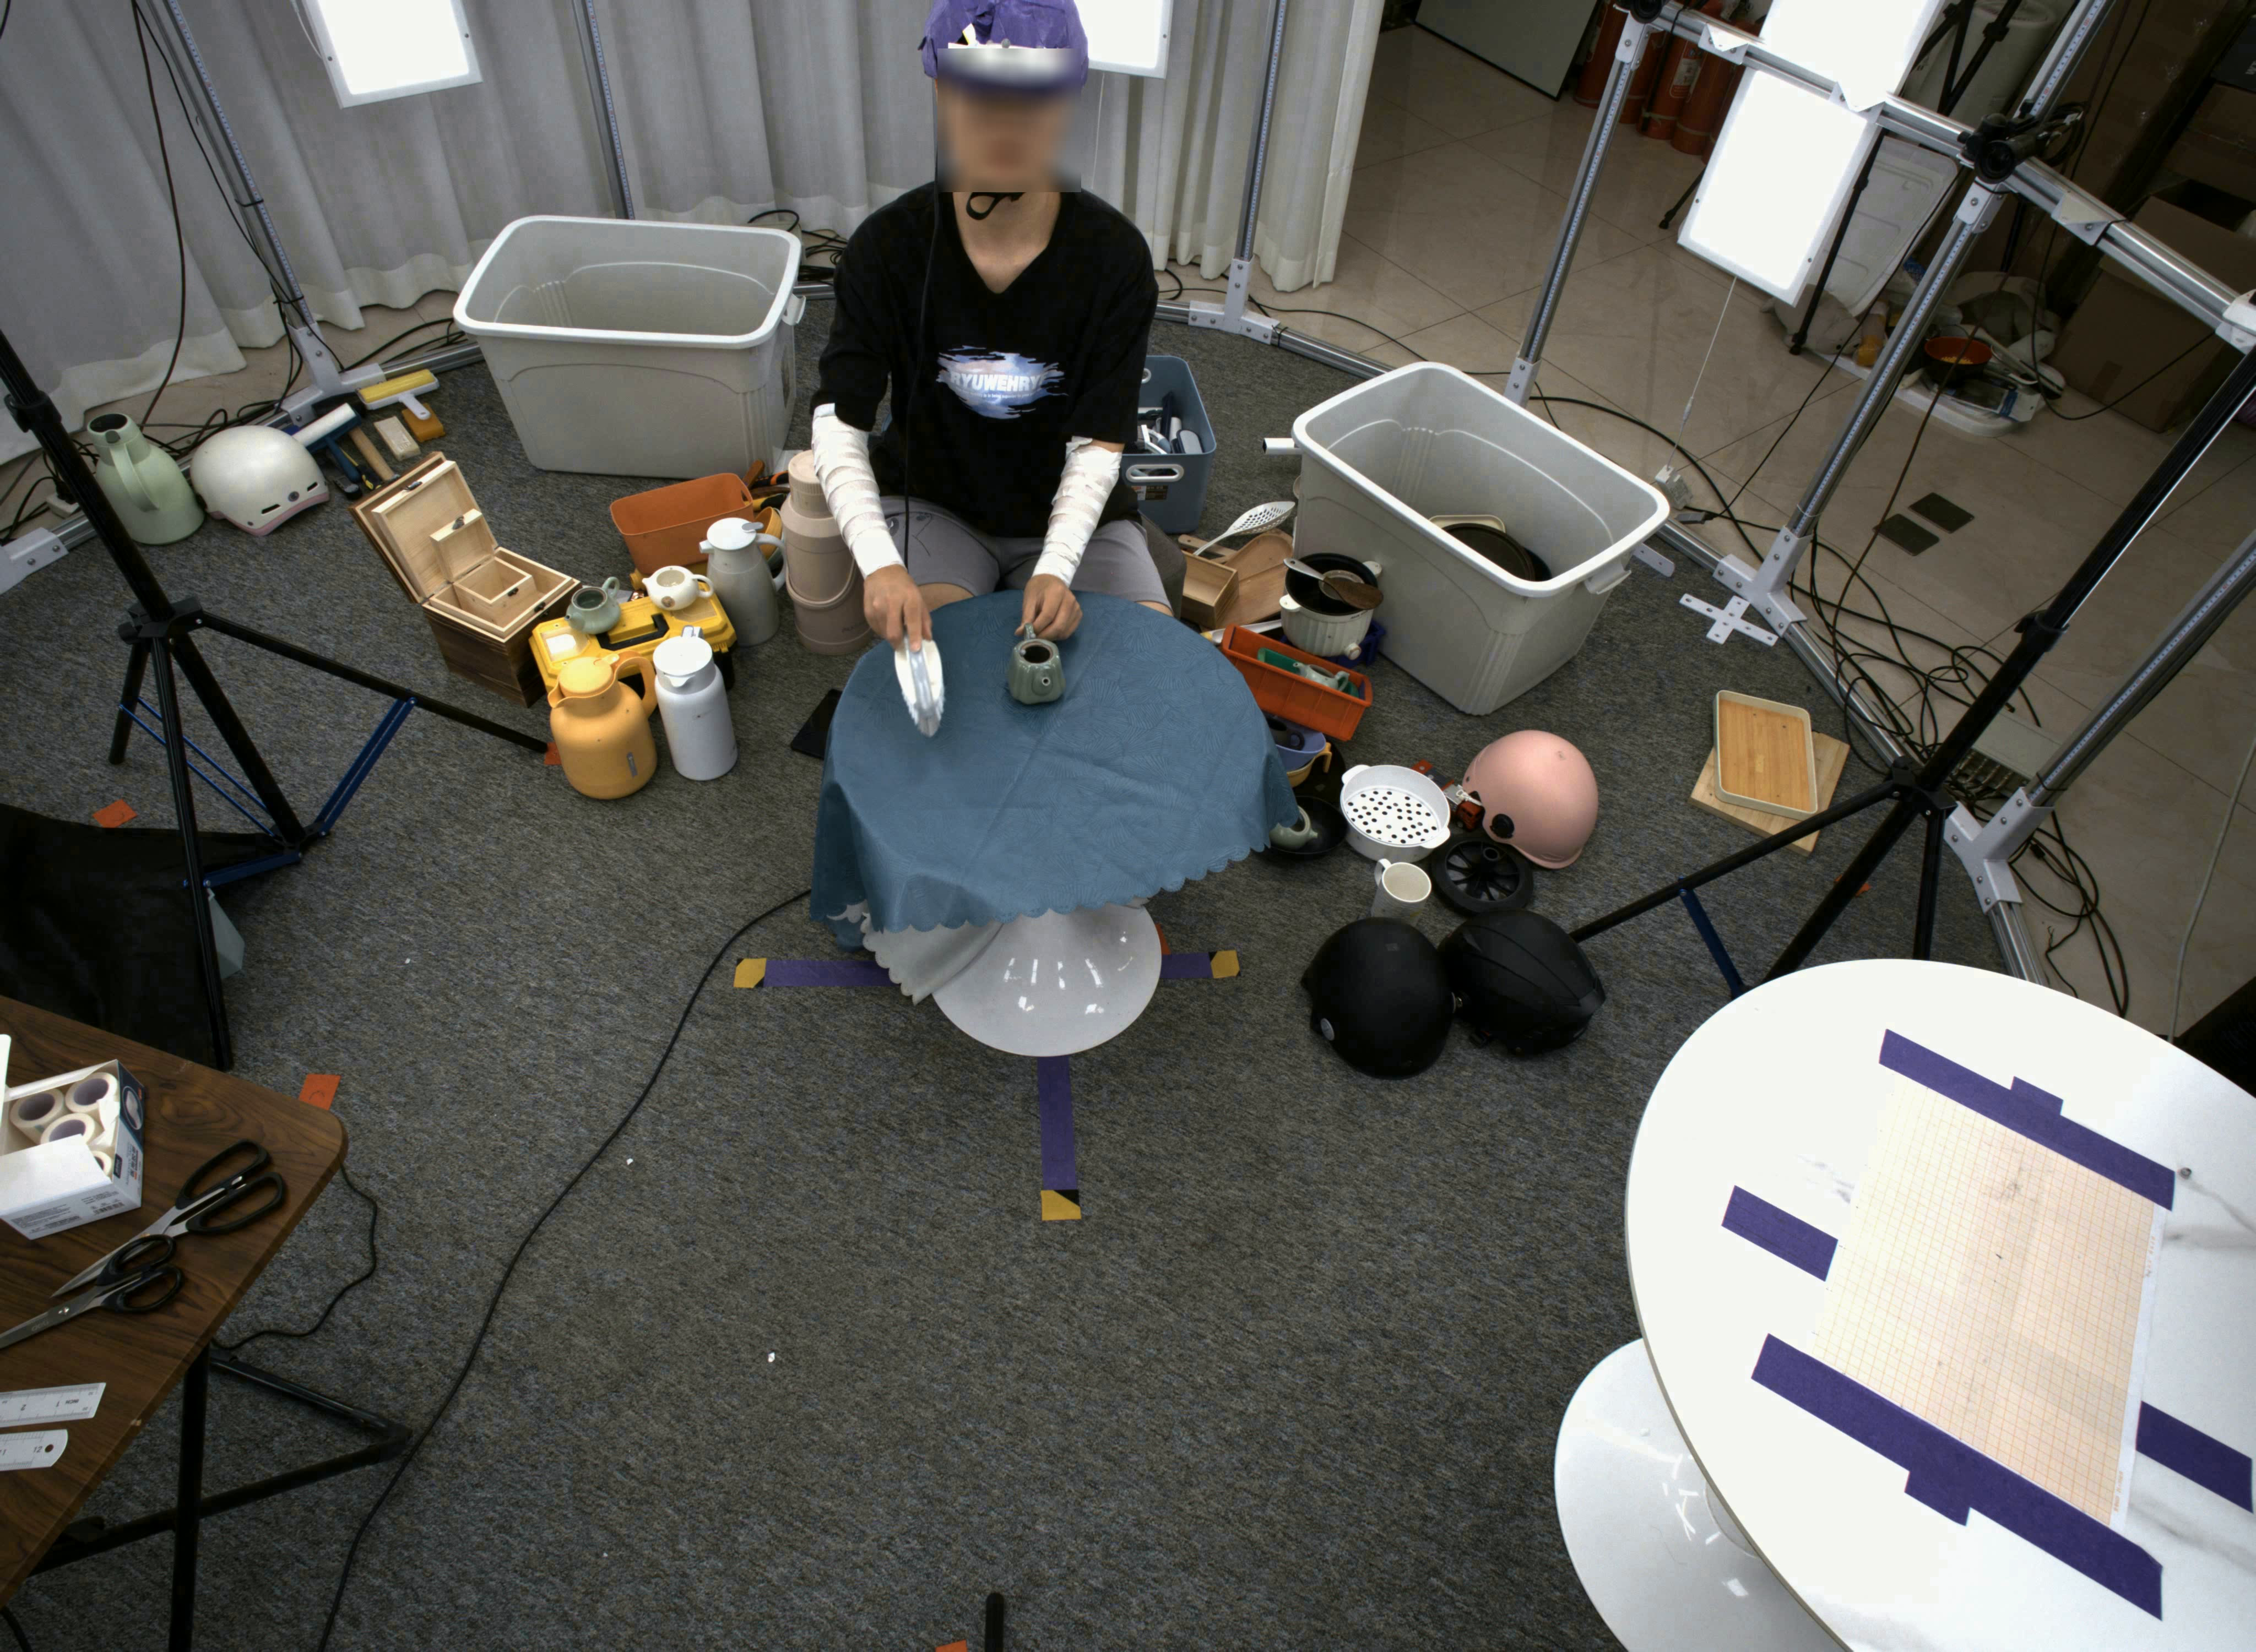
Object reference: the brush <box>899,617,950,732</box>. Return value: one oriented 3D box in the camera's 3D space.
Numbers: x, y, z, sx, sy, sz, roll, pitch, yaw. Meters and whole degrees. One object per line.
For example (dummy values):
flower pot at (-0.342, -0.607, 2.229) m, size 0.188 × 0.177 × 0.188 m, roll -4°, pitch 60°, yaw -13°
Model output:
brush at (-0.276, -0.212, 1.732) m, size 0.061 × 0.092 × 0.180 m, roll -14°, pitch 46°, yaw -4°

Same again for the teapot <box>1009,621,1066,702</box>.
teapot at (-0.127, -0.224, 1.811) m, size 0.079 × 0.073 × 0.136 m, roll -5°, pitch 49°, yaw -10°
